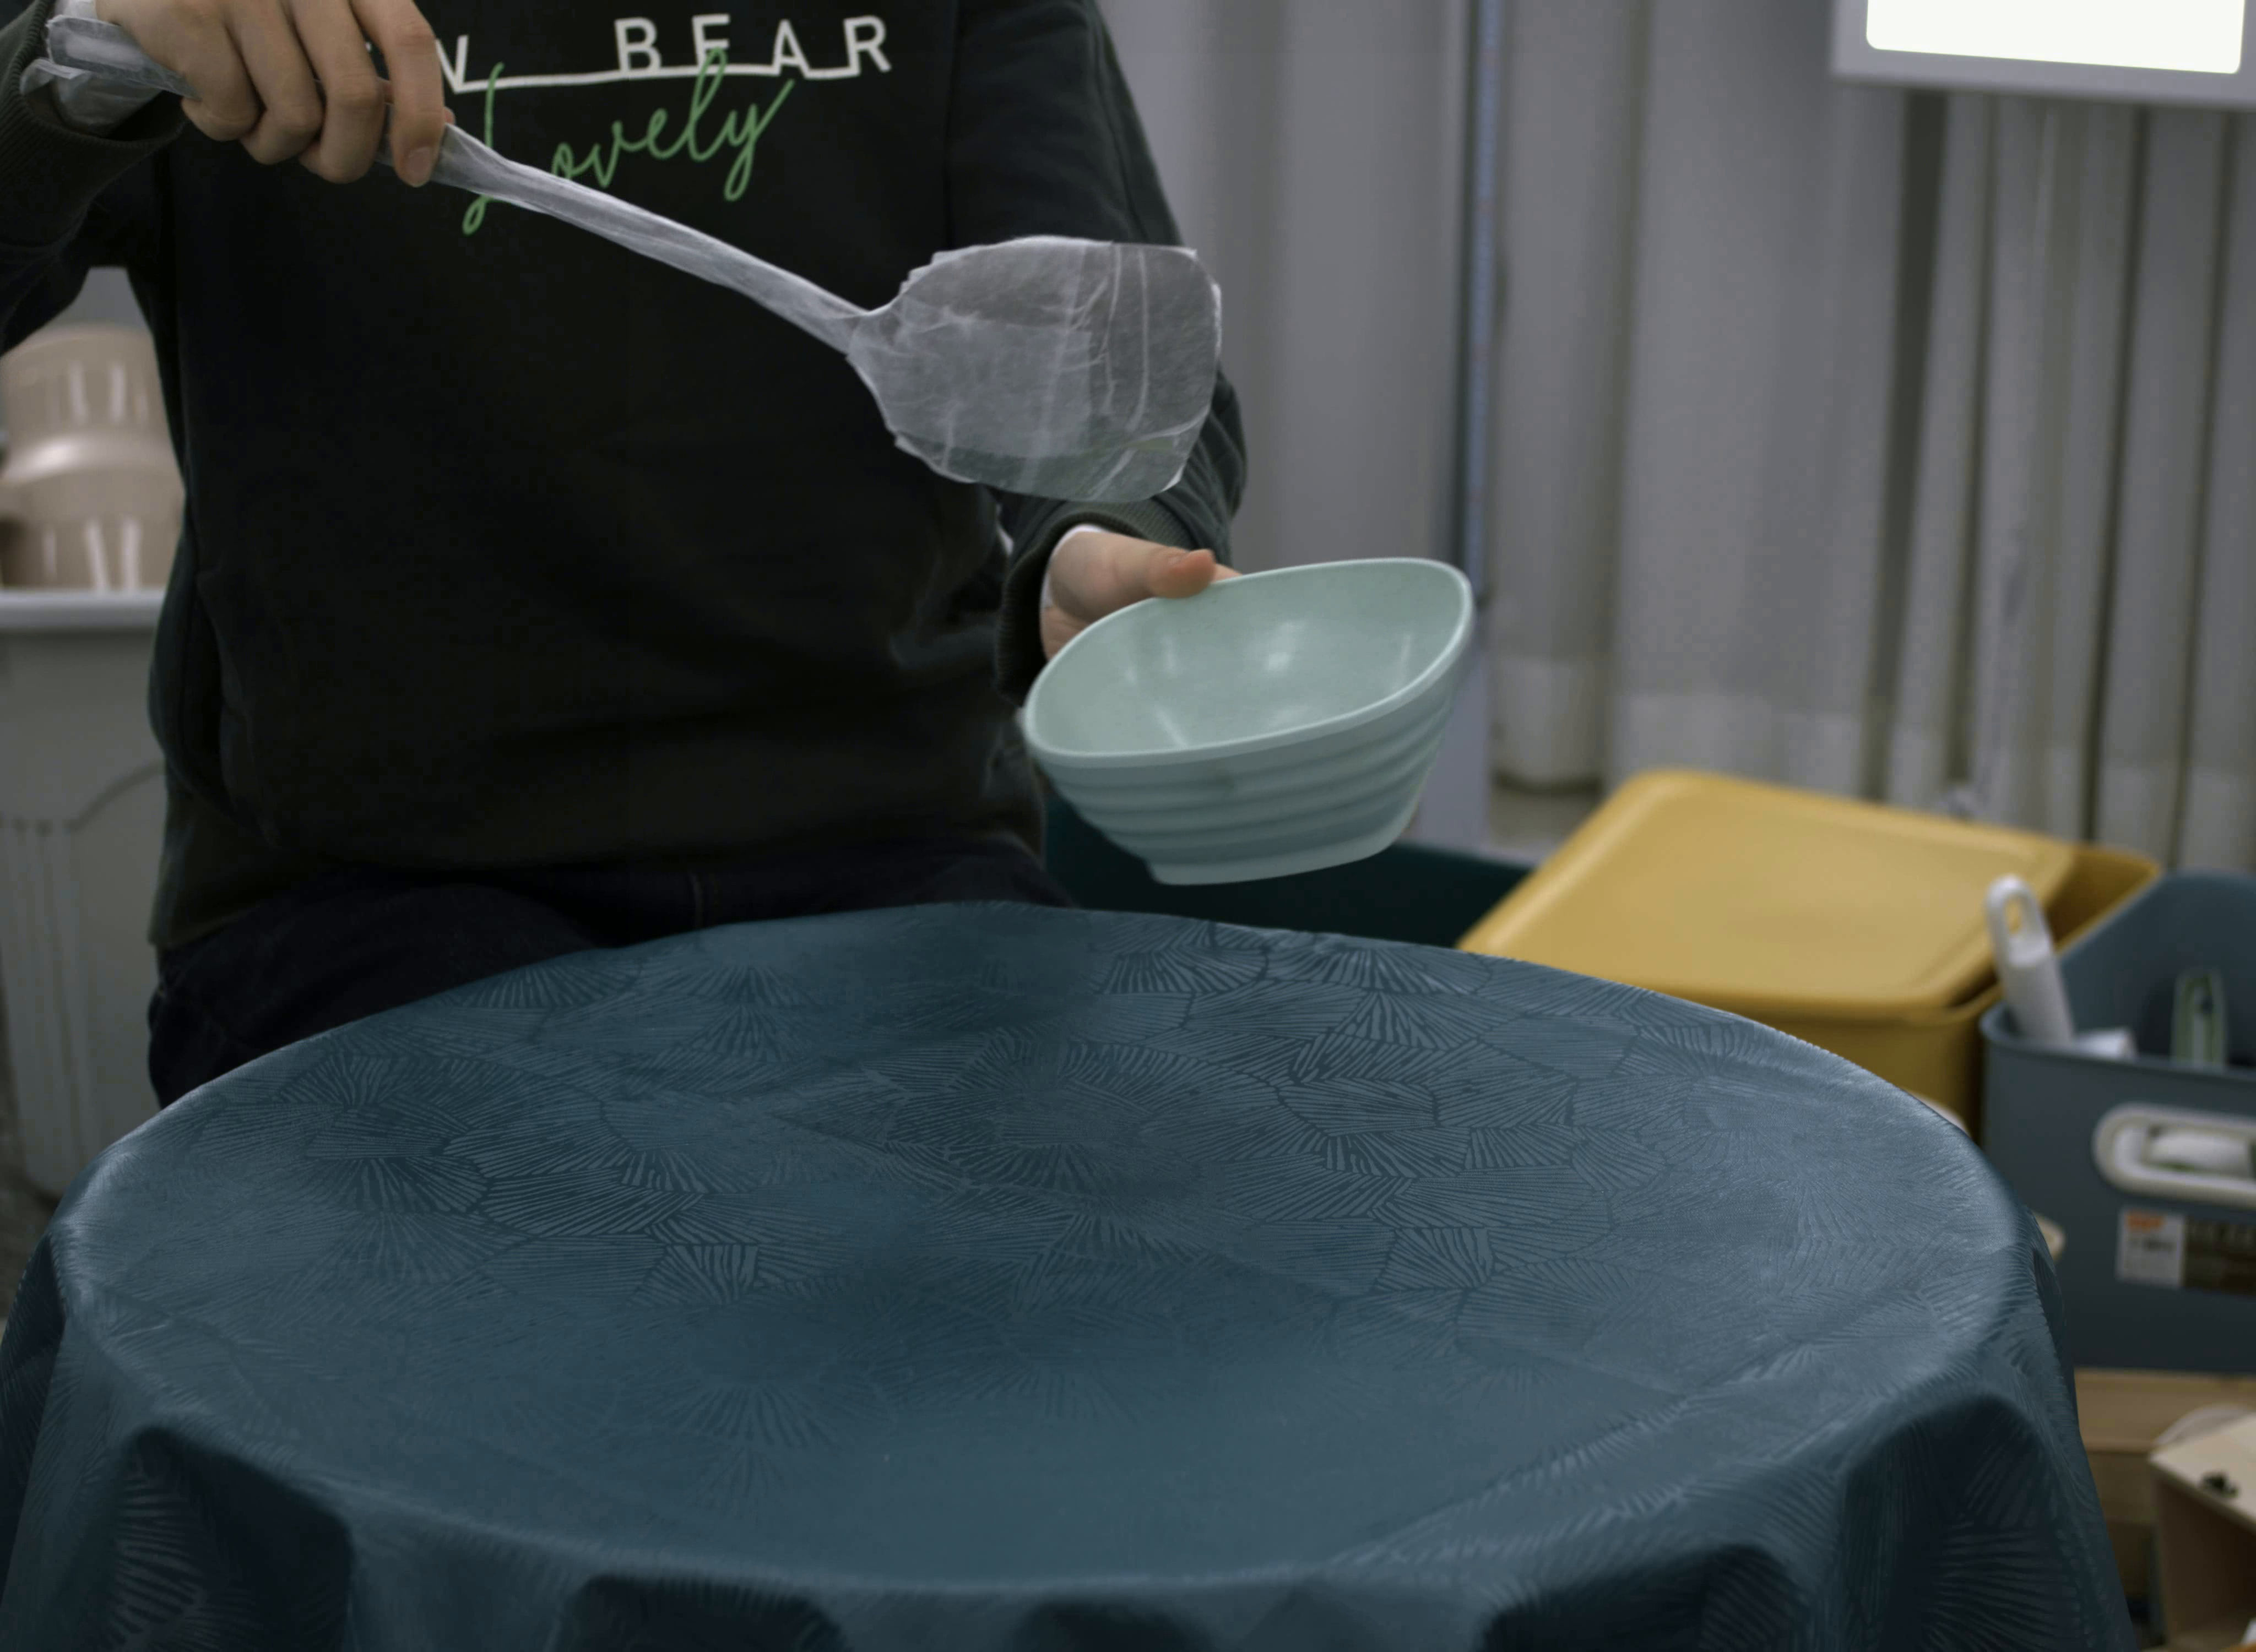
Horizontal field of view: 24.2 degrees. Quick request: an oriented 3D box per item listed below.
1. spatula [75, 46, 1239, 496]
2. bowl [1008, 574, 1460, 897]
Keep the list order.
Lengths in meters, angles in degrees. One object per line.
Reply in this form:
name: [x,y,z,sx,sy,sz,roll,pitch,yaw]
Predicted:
spatula: [-0.144,-0.182,1.583,0.362,0.099,0.044,20,44,8]
bowl: [0.038,-0.023,1.618,0.151,0.059,0.150,-11,23,5]
